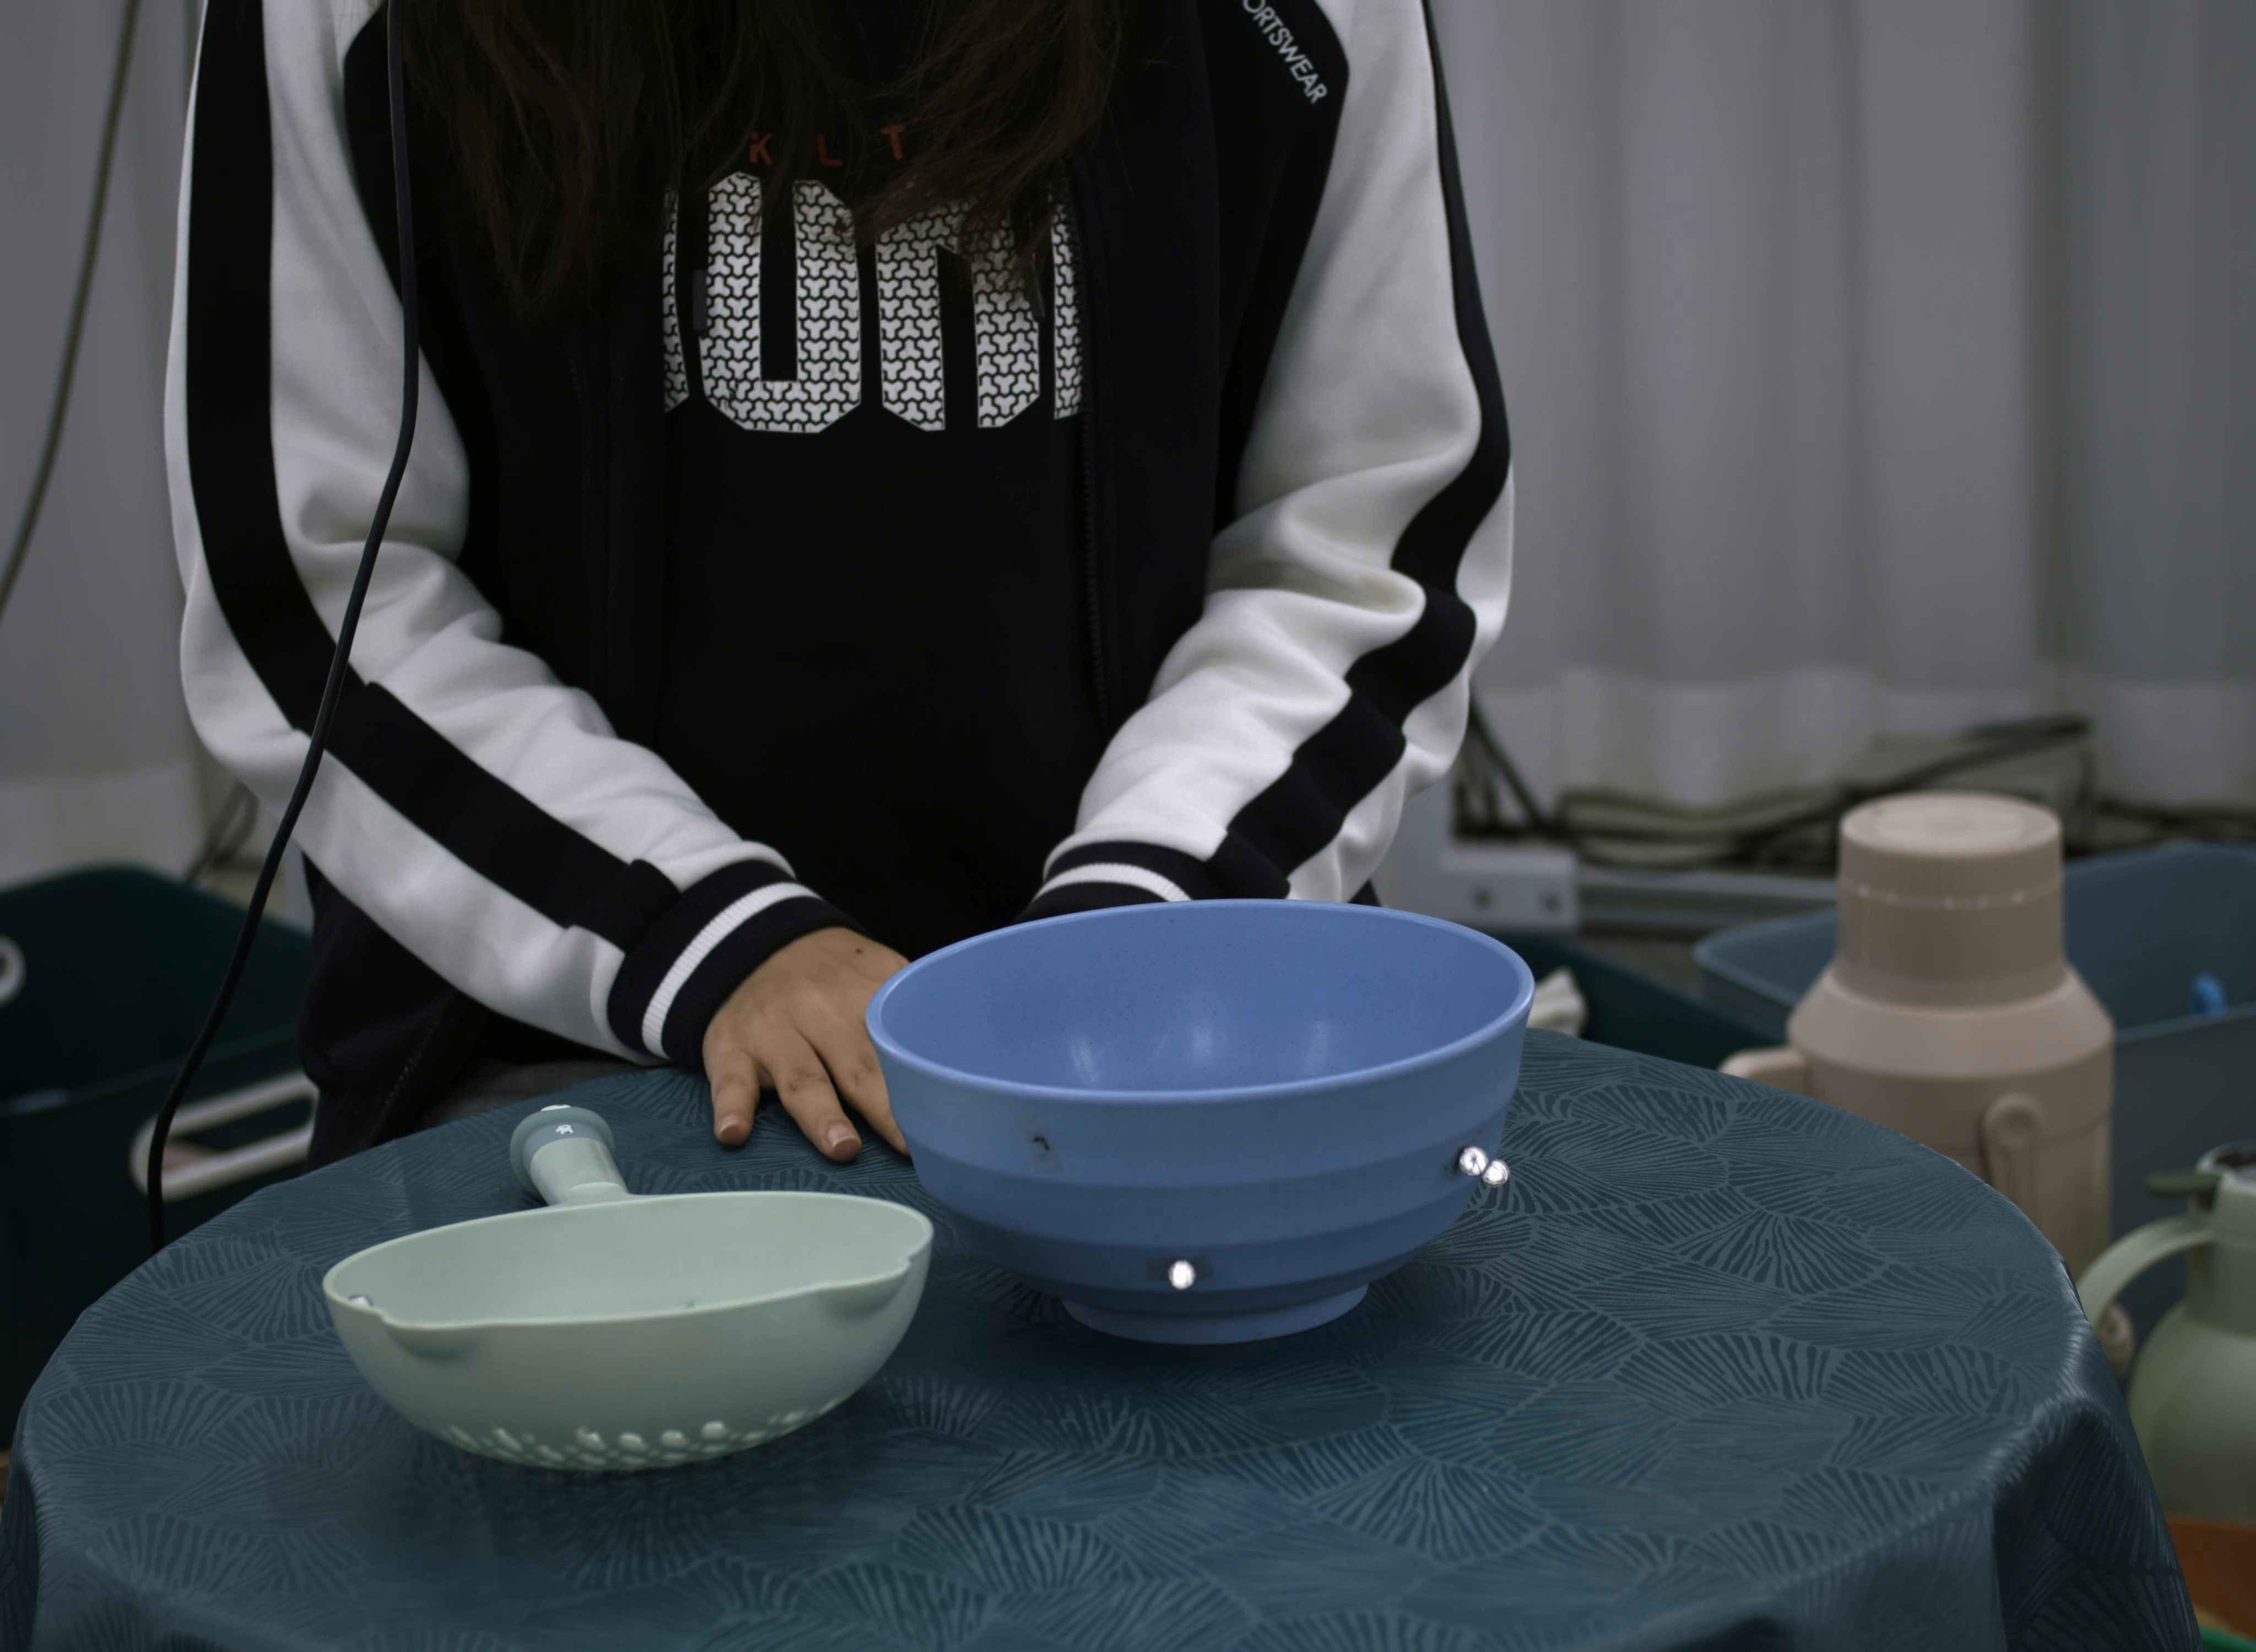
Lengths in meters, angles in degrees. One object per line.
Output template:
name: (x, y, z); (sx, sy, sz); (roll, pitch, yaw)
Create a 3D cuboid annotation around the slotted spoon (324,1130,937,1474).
slotted spoon: (-0.153, 0.123, 1.602); (0.168, 0.075, 0.361); (-4, 13, -10)

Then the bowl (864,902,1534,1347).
bowl: (0.023, 0.093, 1.608); (0.196, 0.095, 0.198); (-3, 14, 1)
